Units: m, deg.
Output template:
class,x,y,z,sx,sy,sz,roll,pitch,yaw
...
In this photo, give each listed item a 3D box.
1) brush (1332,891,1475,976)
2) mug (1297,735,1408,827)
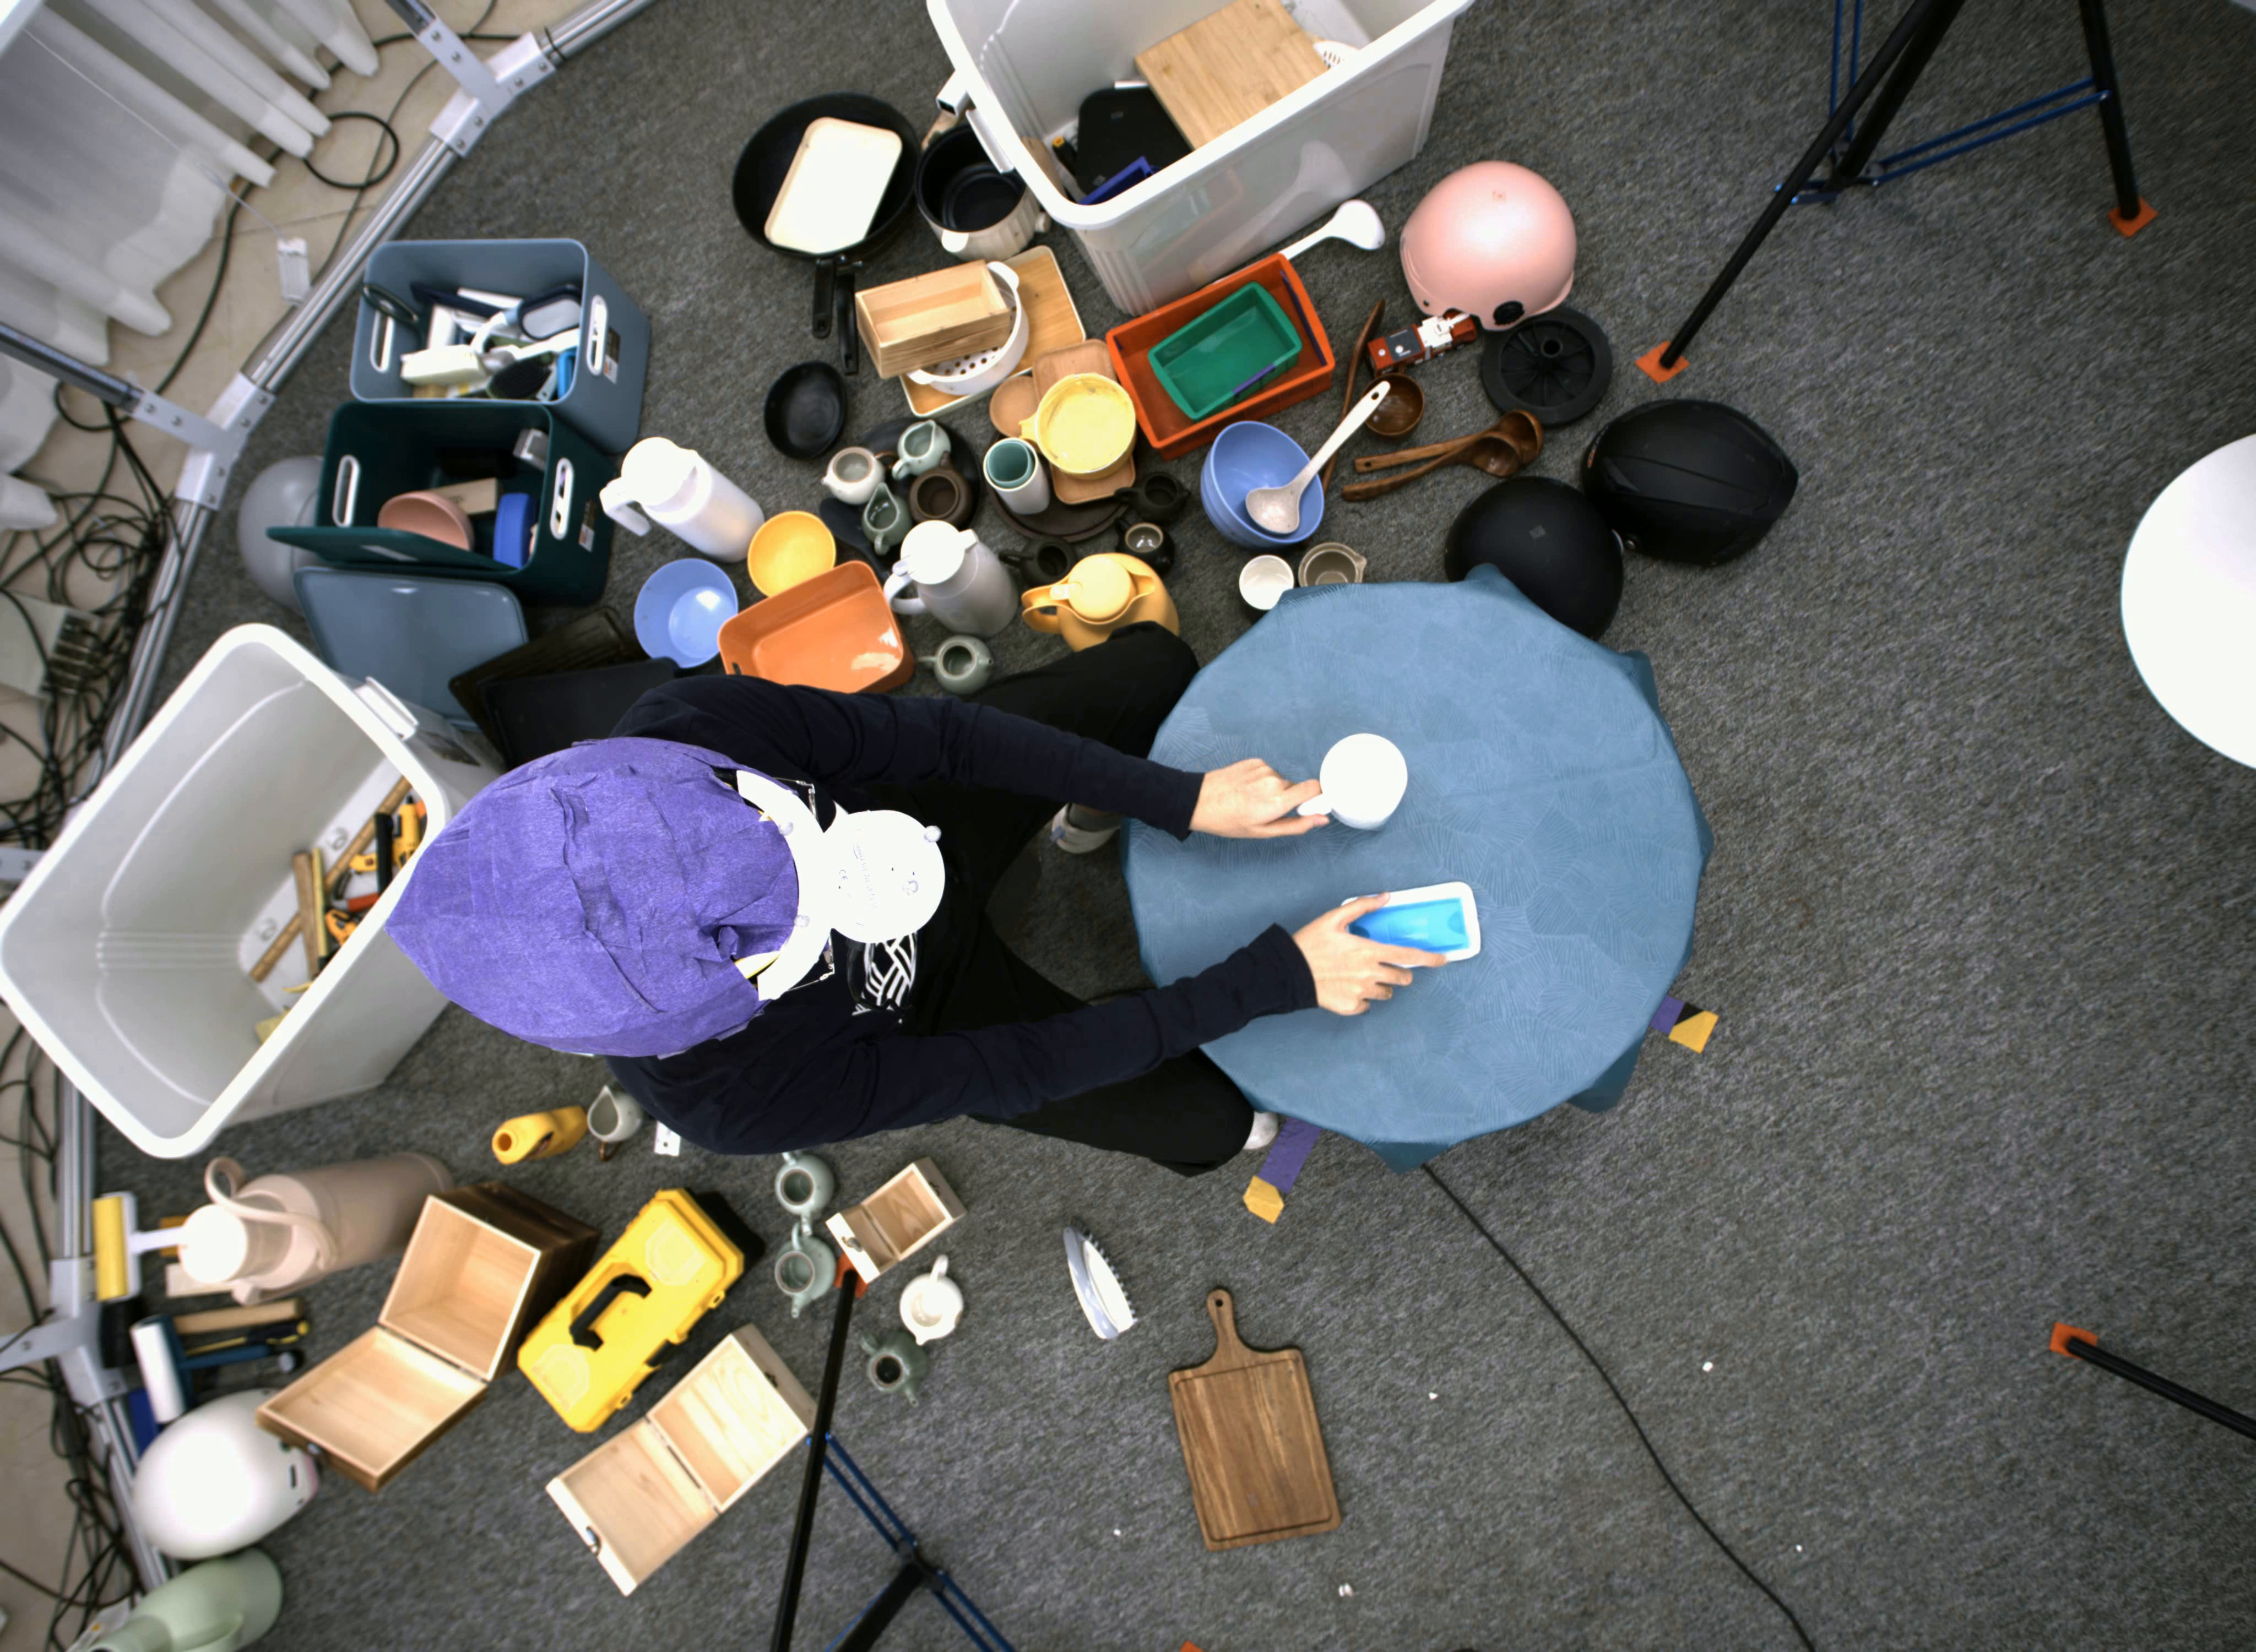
class,x,y,z,sx,sy,sz,roll,pitch,yaw
brush,0.284,0.106,1.423,0.144,0.056,0.083,-7,82,8
mug,0.228,-0.037,1.419,0.119,0.102,0.084,-31,83,6
